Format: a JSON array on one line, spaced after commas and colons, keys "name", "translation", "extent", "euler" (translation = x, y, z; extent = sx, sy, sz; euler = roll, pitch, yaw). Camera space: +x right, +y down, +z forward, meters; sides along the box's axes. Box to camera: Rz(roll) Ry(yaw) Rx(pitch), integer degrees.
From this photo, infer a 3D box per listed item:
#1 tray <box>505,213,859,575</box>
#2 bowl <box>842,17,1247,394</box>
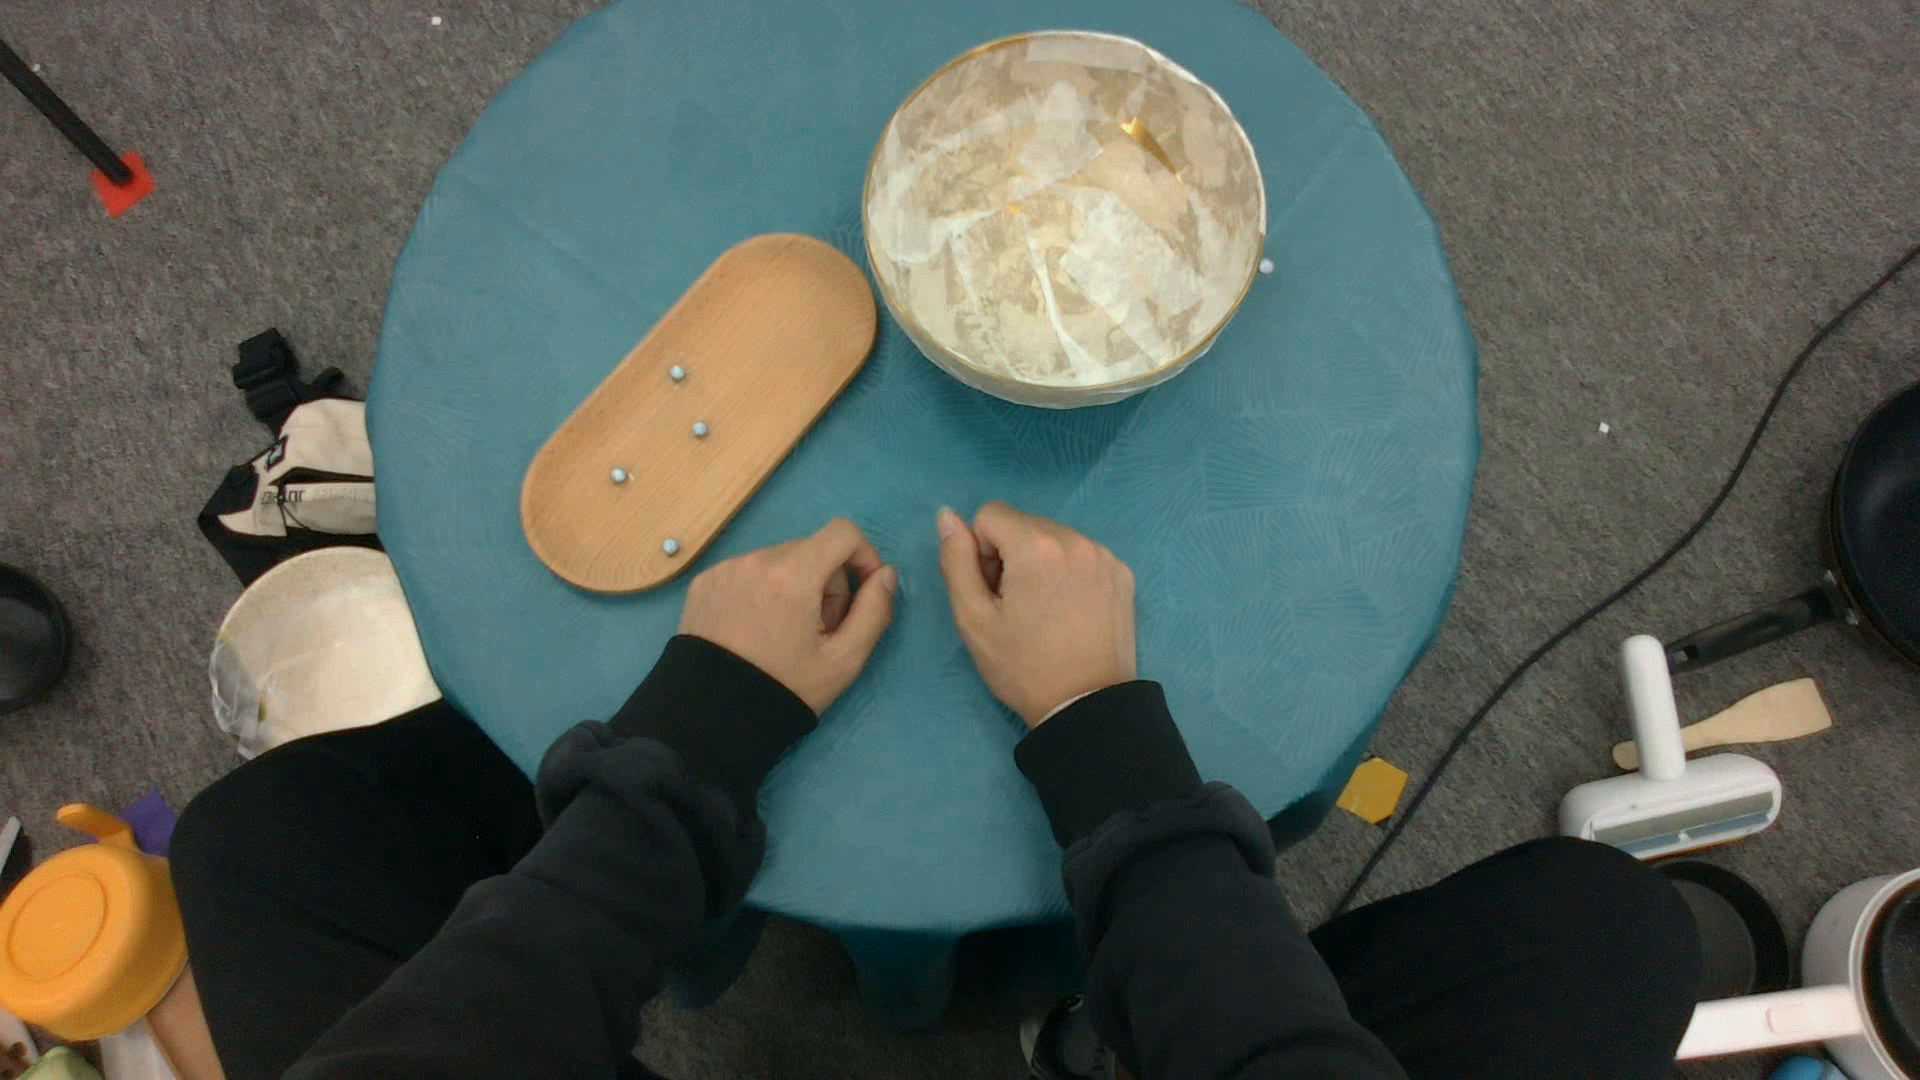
[{"name": "tray", "translation": [-0.144, -0.080, 0.732], "extent": [0.101, 0.020, 0.232], "euler": [36, 73, 6]}, {"name": "bowl", "translation": [0.038, -0.161, 0.725], "extent": [0.215, 0.094, 0.215], "euler": [1, 74, -3]}]
